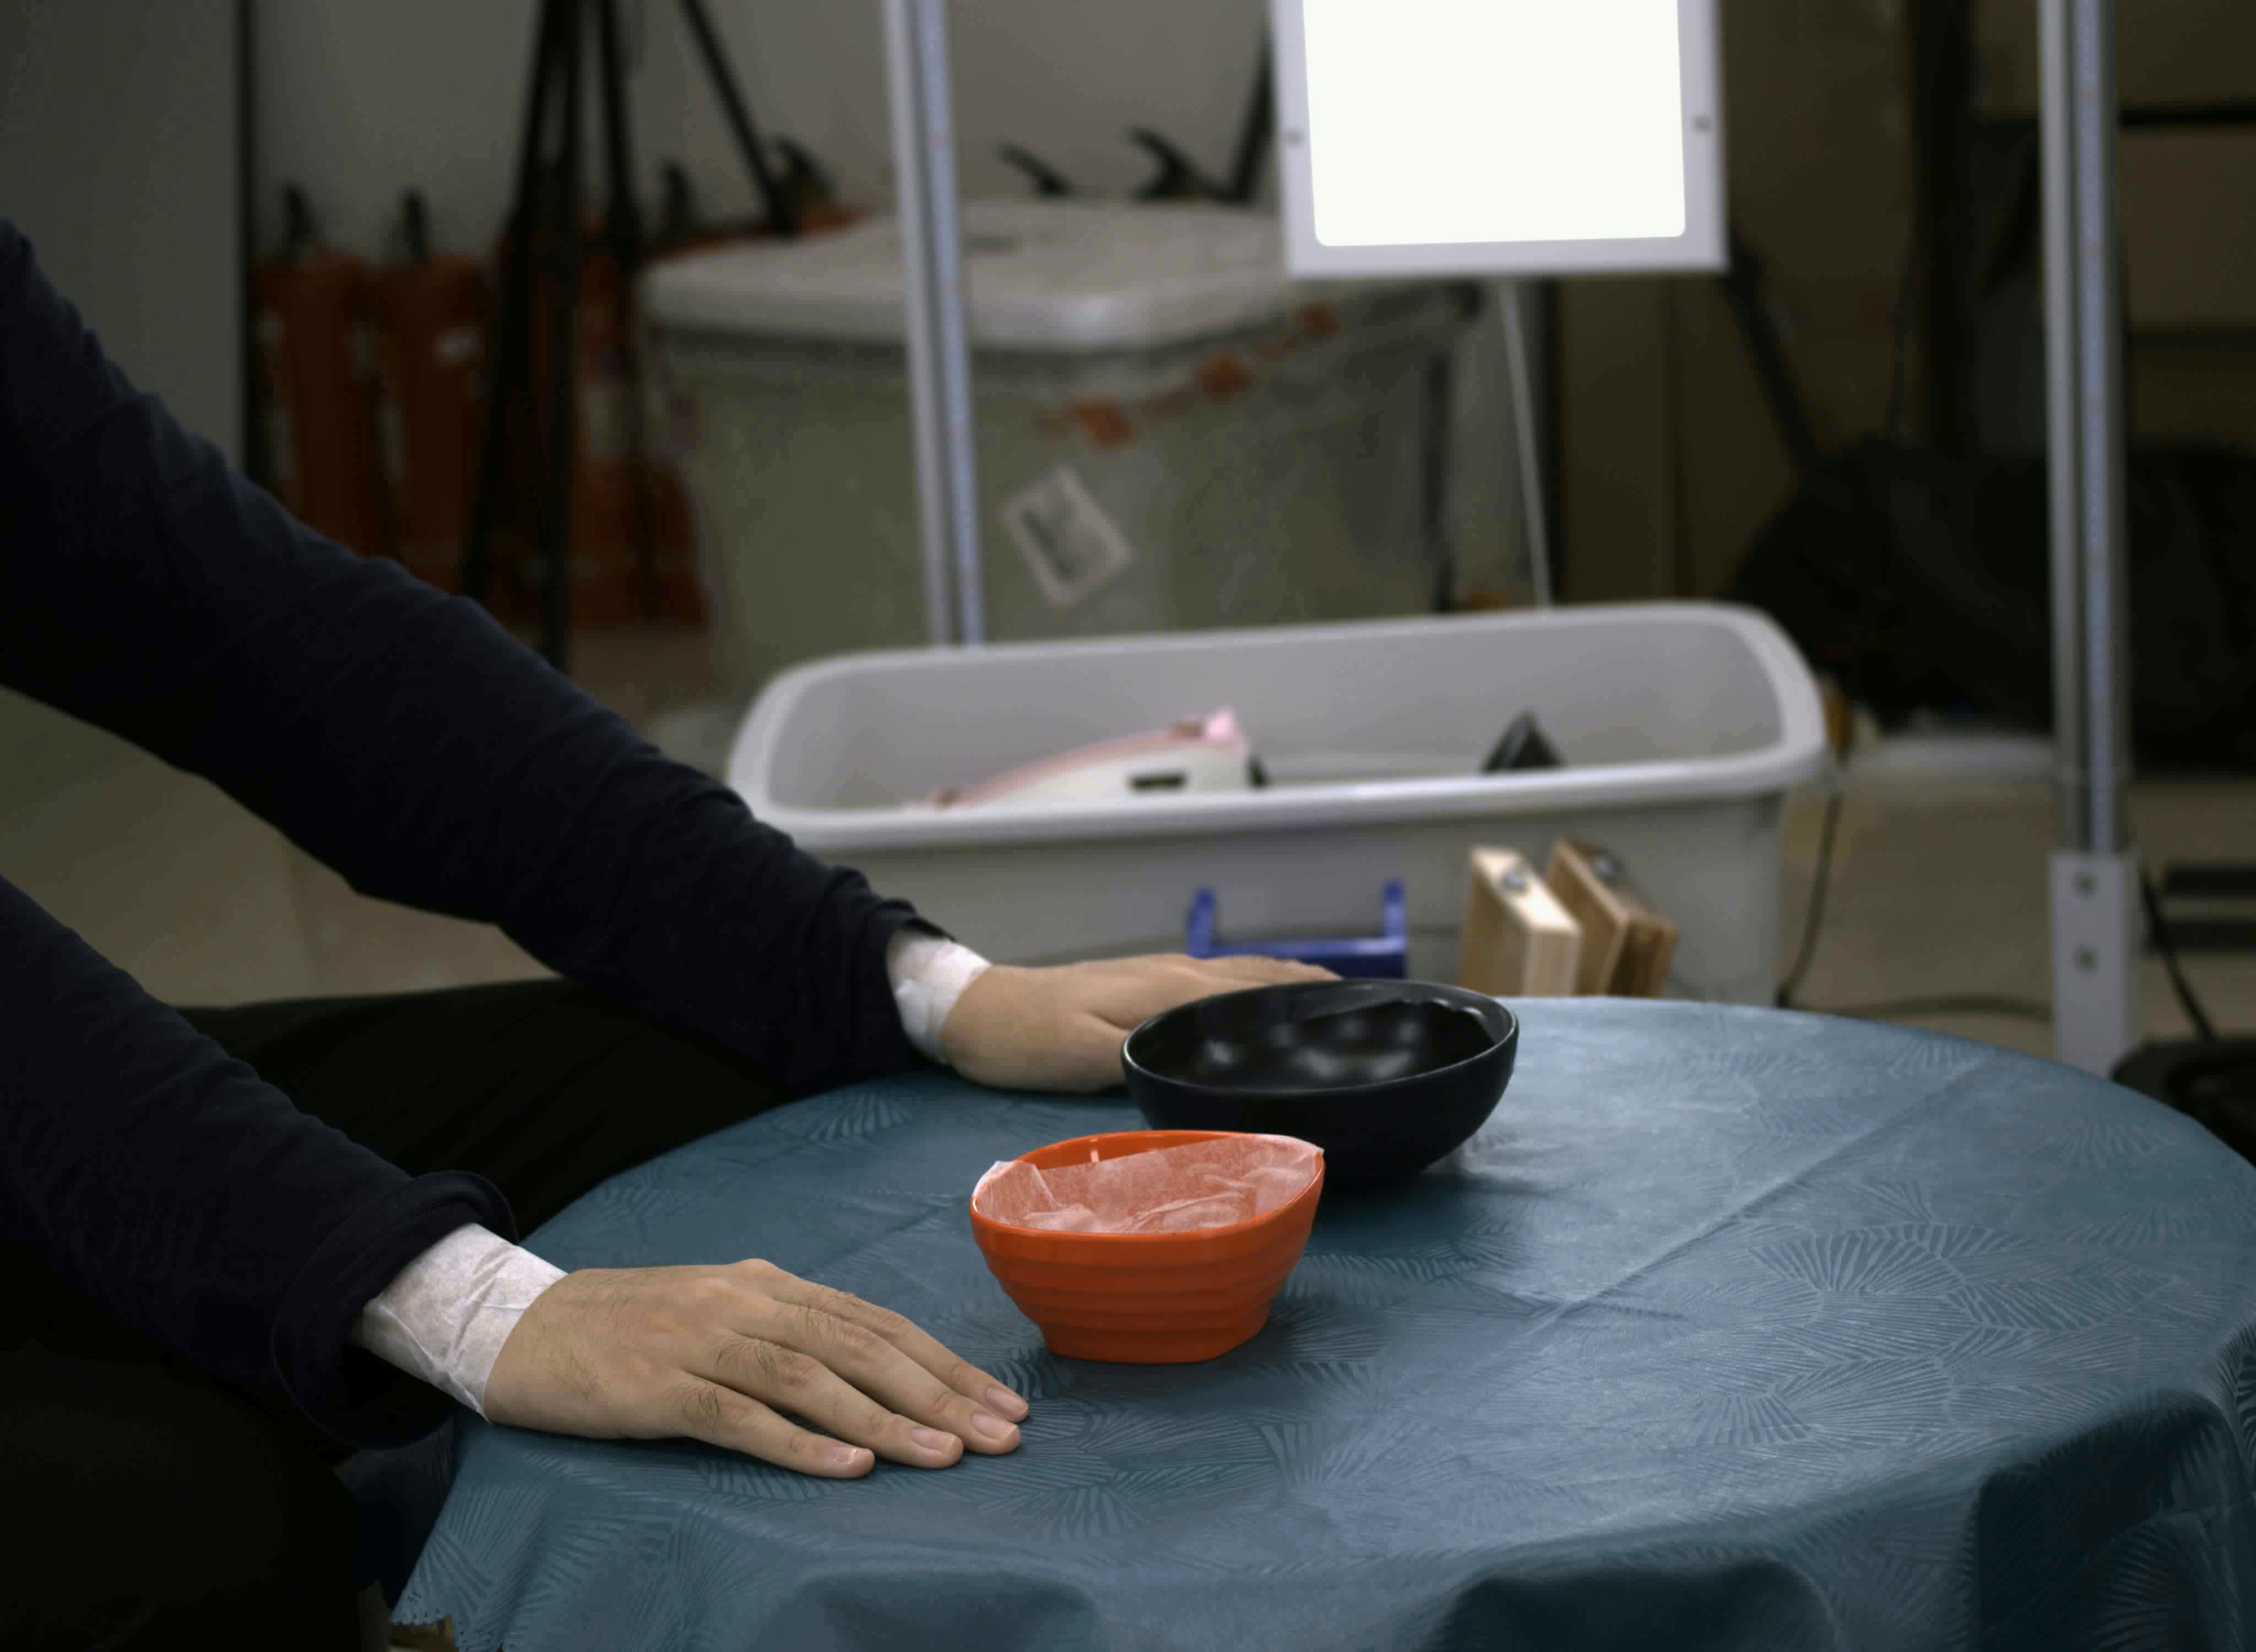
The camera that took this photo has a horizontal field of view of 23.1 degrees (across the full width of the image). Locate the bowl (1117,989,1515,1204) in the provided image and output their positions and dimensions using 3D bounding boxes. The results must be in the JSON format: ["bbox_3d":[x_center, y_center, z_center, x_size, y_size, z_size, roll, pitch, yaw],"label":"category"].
[{"bbox_3d":[0.068,0.098,1.905,0.140,0.050,0.140,-9,11,0],"label":"bowl"}]

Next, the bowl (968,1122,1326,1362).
[{"bbox_3d":[0.008,0.135,1.754,0.118,0.051,0.119,-4,15,0],"label":"bowl"}]
